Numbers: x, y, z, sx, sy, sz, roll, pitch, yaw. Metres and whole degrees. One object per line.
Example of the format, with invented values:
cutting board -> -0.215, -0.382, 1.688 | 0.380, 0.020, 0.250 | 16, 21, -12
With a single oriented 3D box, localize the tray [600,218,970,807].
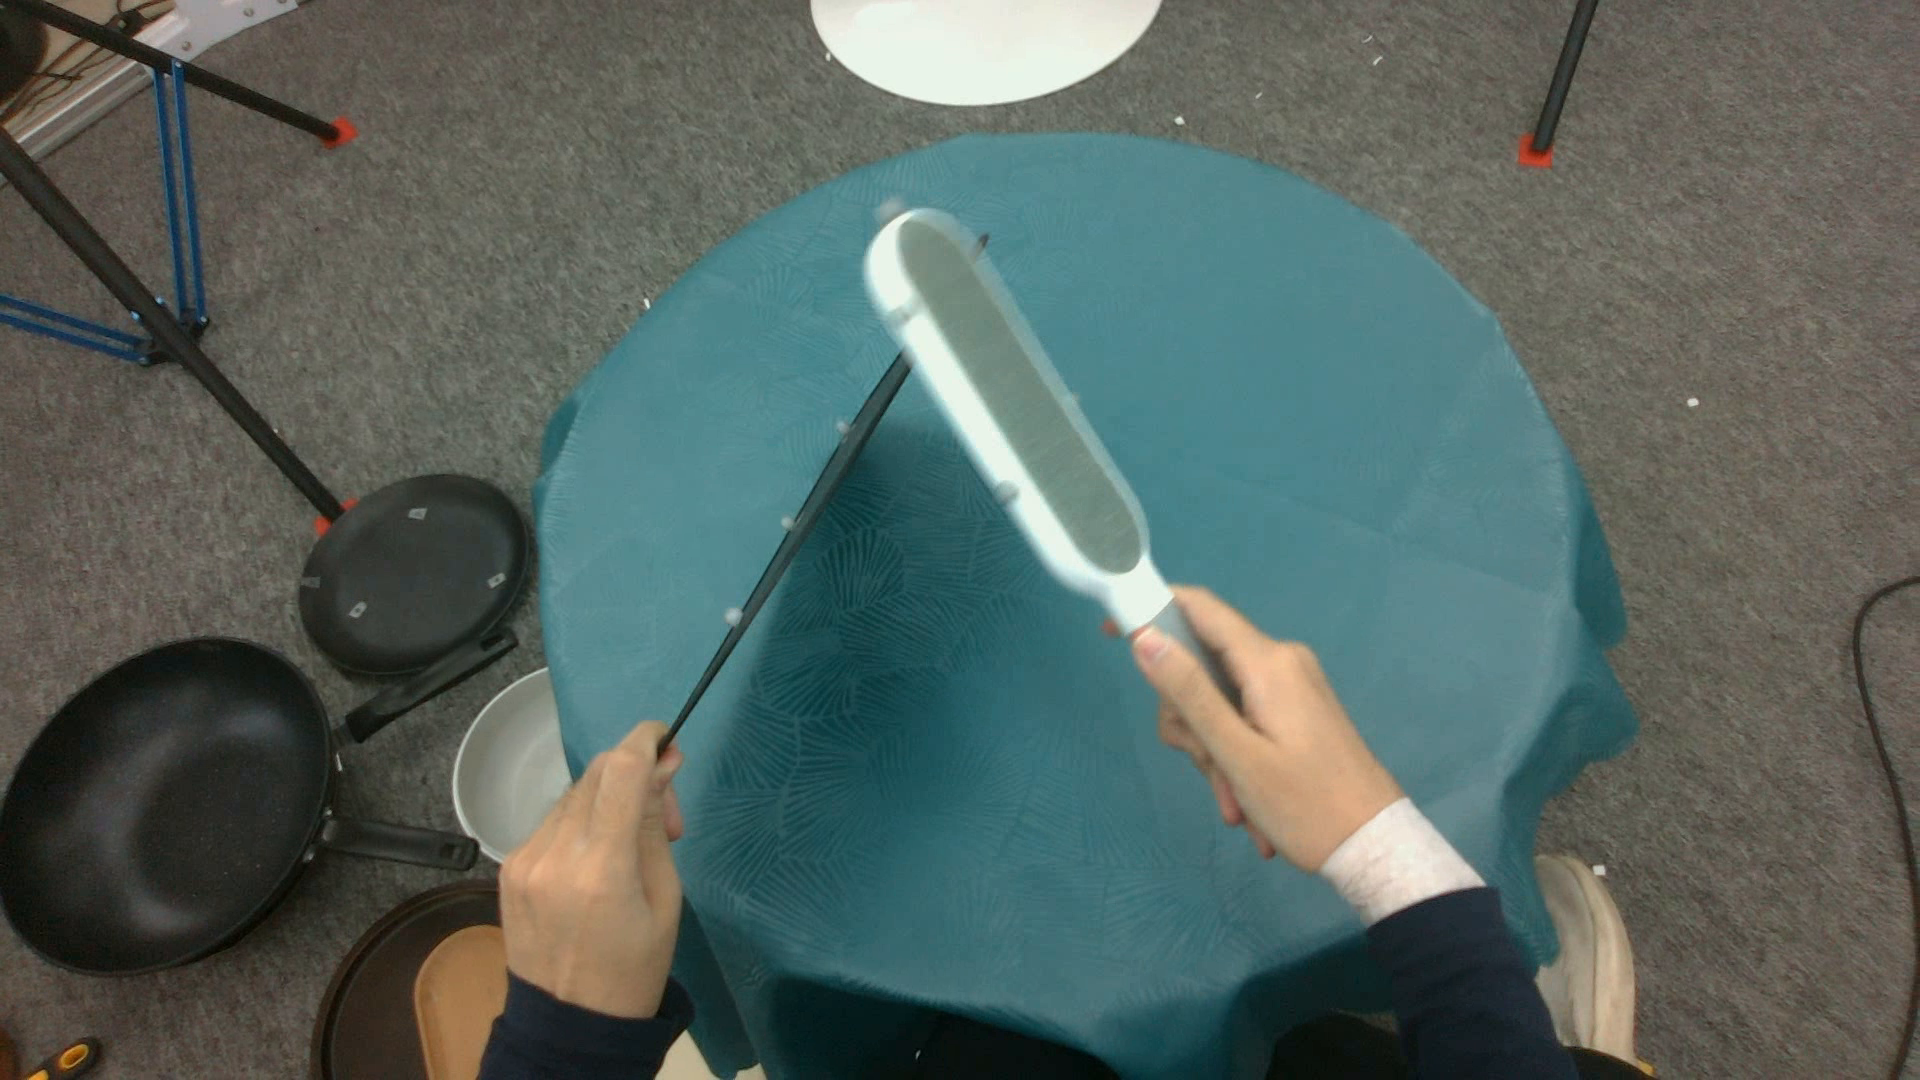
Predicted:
tray -> -0.086, -0.015, 0.672 | 0.010, 0.210, 0.327 | 33, 53, -8

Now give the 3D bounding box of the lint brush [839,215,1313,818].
lint brush -> 0.050, -0.010, 0.576 | 0.309, 0.021, 0.060 | 53, 36, 0
